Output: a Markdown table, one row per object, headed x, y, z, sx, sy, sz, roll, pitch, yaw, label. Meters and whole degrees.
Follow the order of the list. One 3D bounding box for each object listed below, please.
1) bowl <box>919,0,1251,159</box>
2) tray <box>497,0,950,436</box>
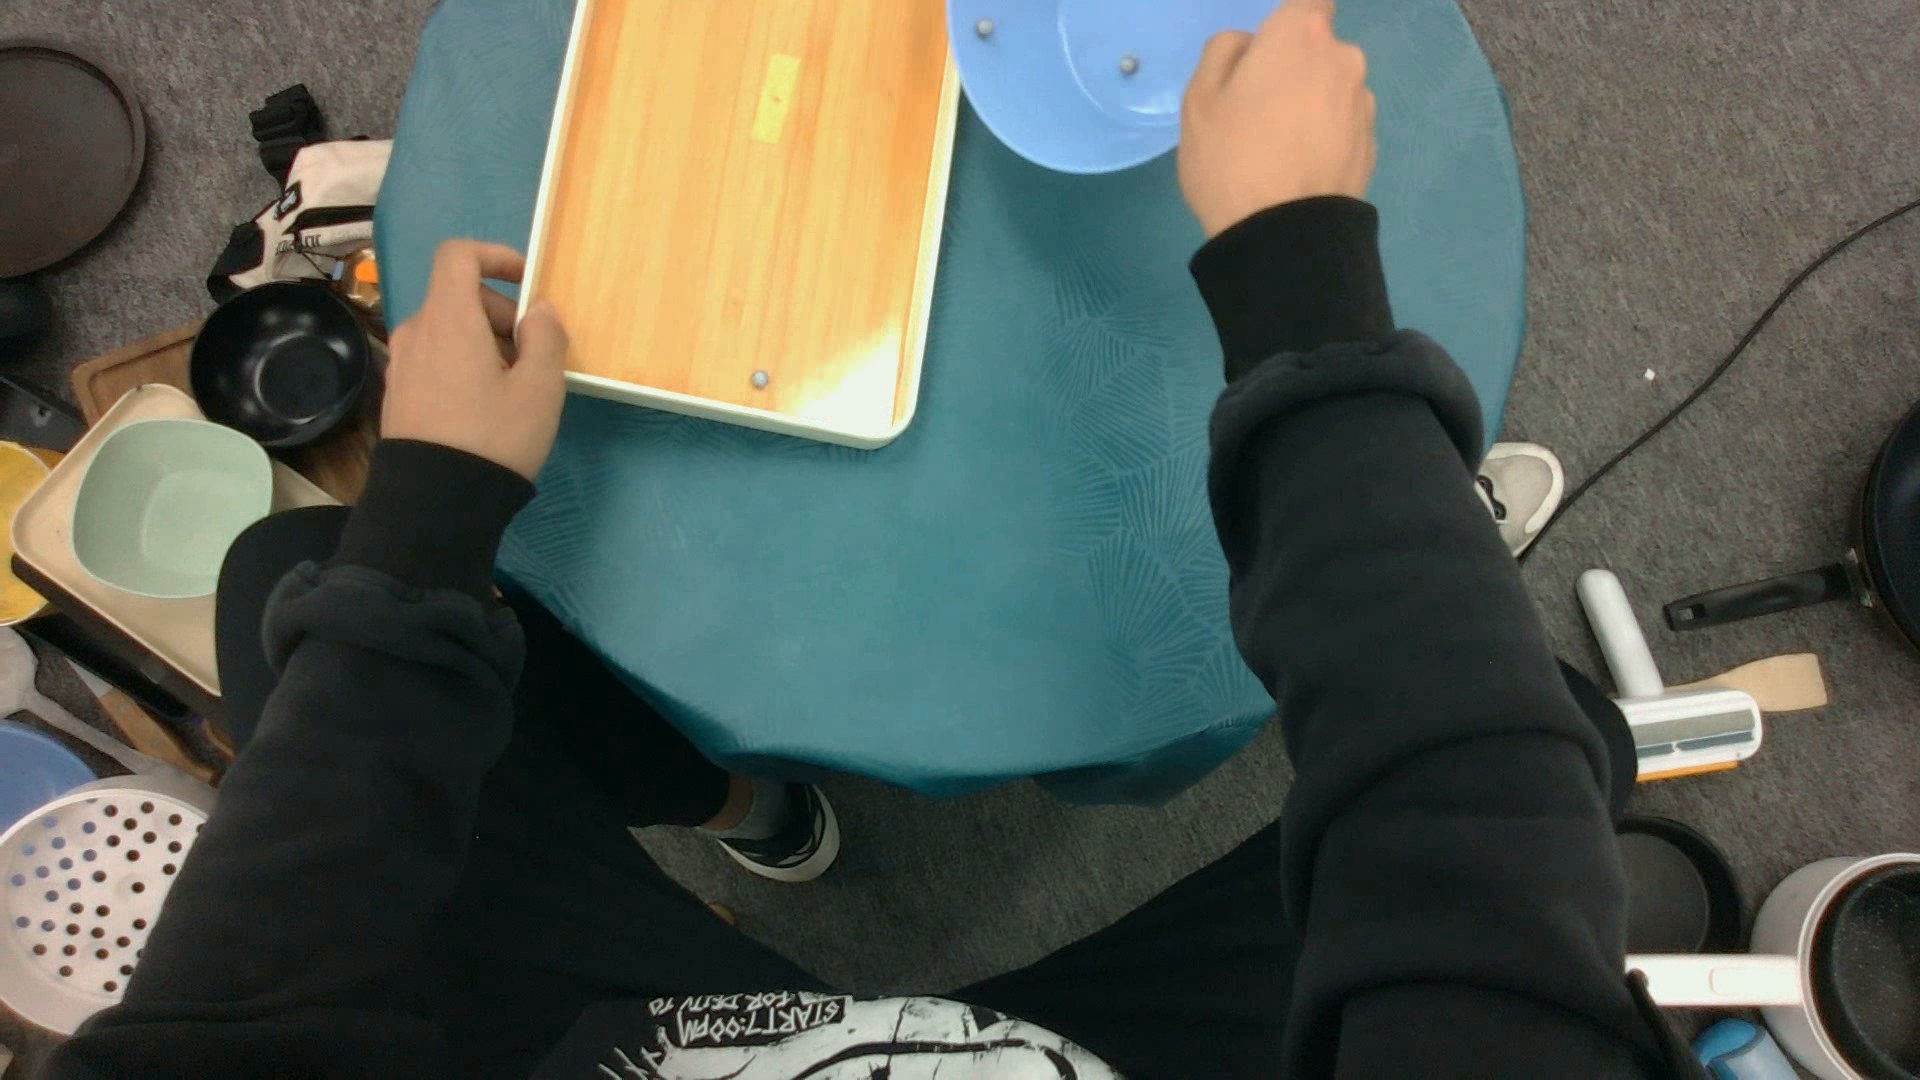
| x | y | z | sx | sy | sz | roll | pitch | yaw | label |
| --- | --- | --- | --- | --- | --- | --- | --- | --- | --- |
| 0.069 | -0.262 | 0.637 | 0.175 | 0.070 | 0.176 | 5 | 98 | 35 | bowl |
| -0.109 | -0.211 | 0.692 | 0.192 | 0.027 | 0.301 | 10 | 77 | -14 | tray |
